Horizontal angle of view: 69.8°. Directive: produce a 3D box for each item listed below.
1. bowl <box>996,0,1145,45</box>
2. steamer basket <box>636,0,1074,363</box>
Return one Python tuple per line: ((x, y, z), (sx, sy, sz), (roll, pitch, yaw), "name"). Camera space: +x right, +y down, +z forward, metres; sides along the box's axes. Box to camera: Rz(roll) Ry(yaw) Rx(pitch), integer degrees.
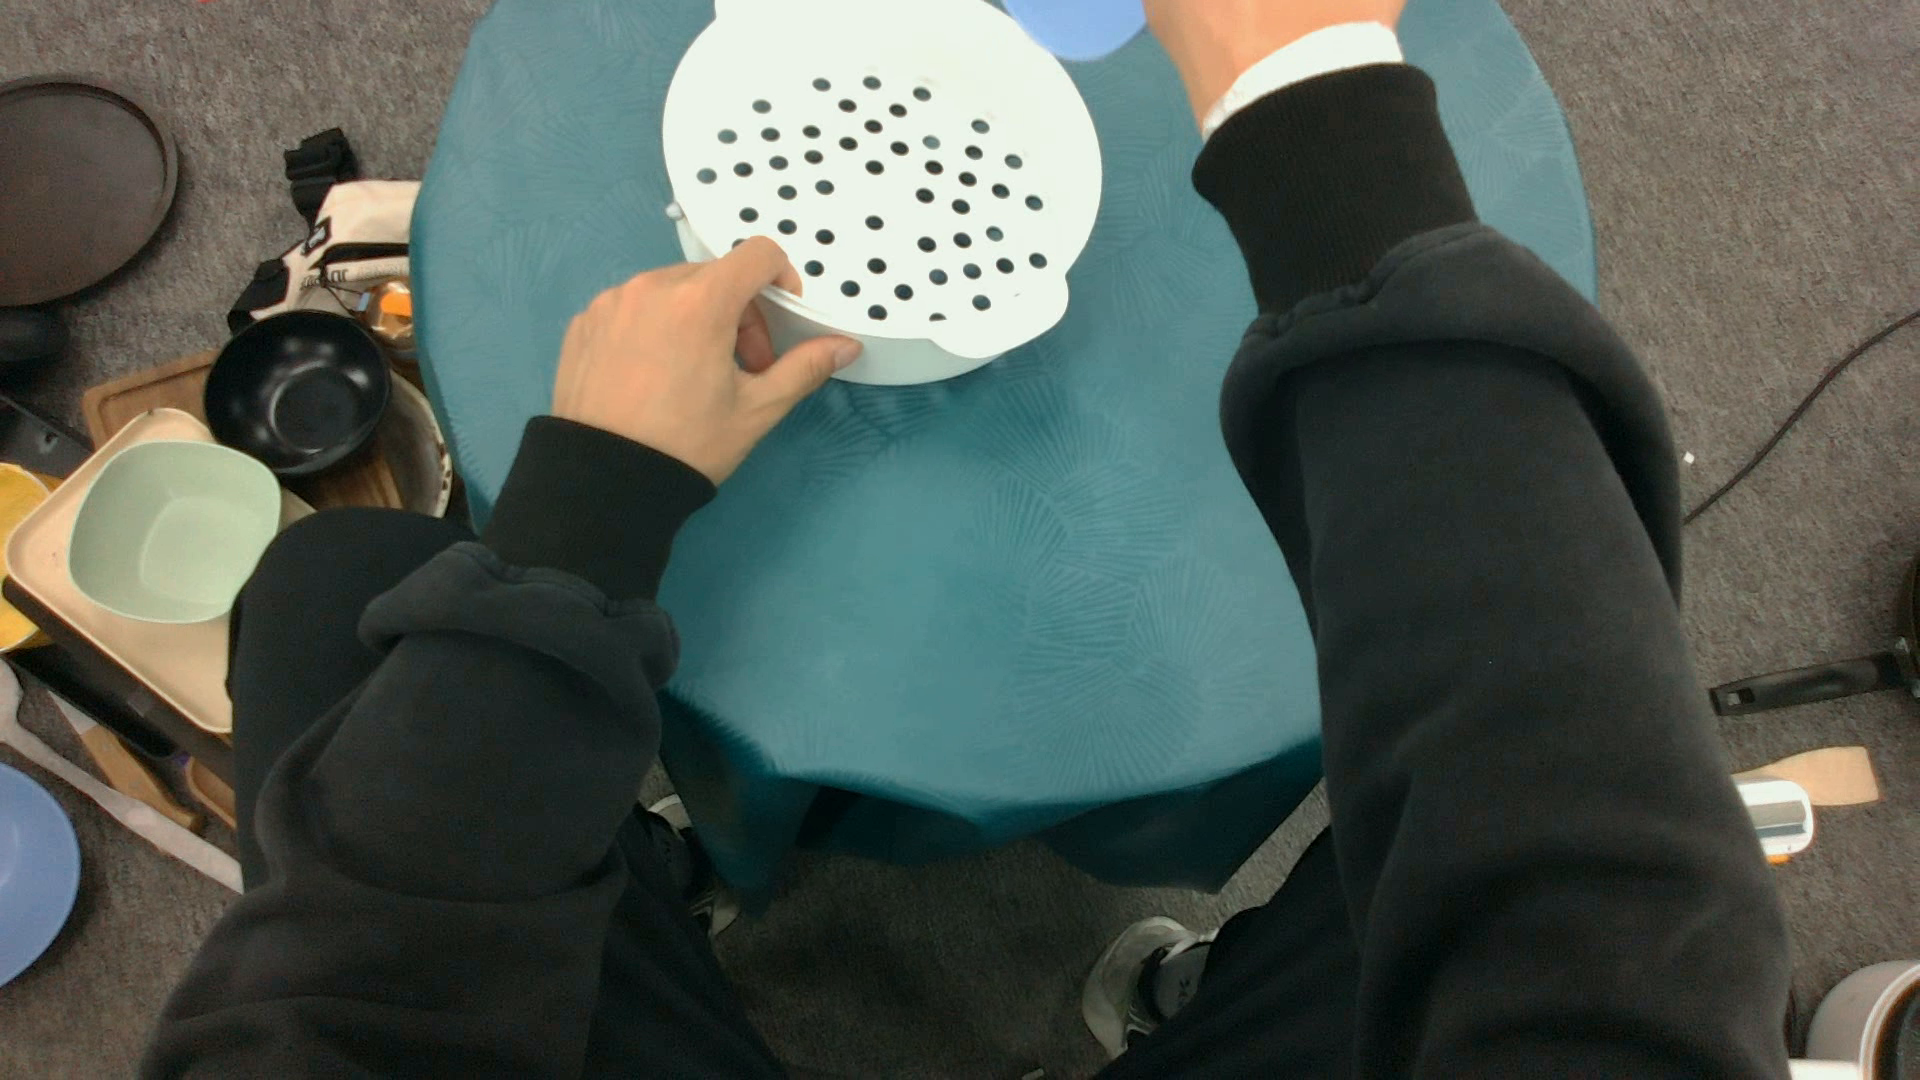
((0.062, -0.277, 0.509), (0.070, 0.175, 0.176), (-12, 74, -24), "bowl")
((-0.050, -0.179, 0.657), (0.202, 0.069, 0.231), (-29, 74, -21), "steamer basket")
